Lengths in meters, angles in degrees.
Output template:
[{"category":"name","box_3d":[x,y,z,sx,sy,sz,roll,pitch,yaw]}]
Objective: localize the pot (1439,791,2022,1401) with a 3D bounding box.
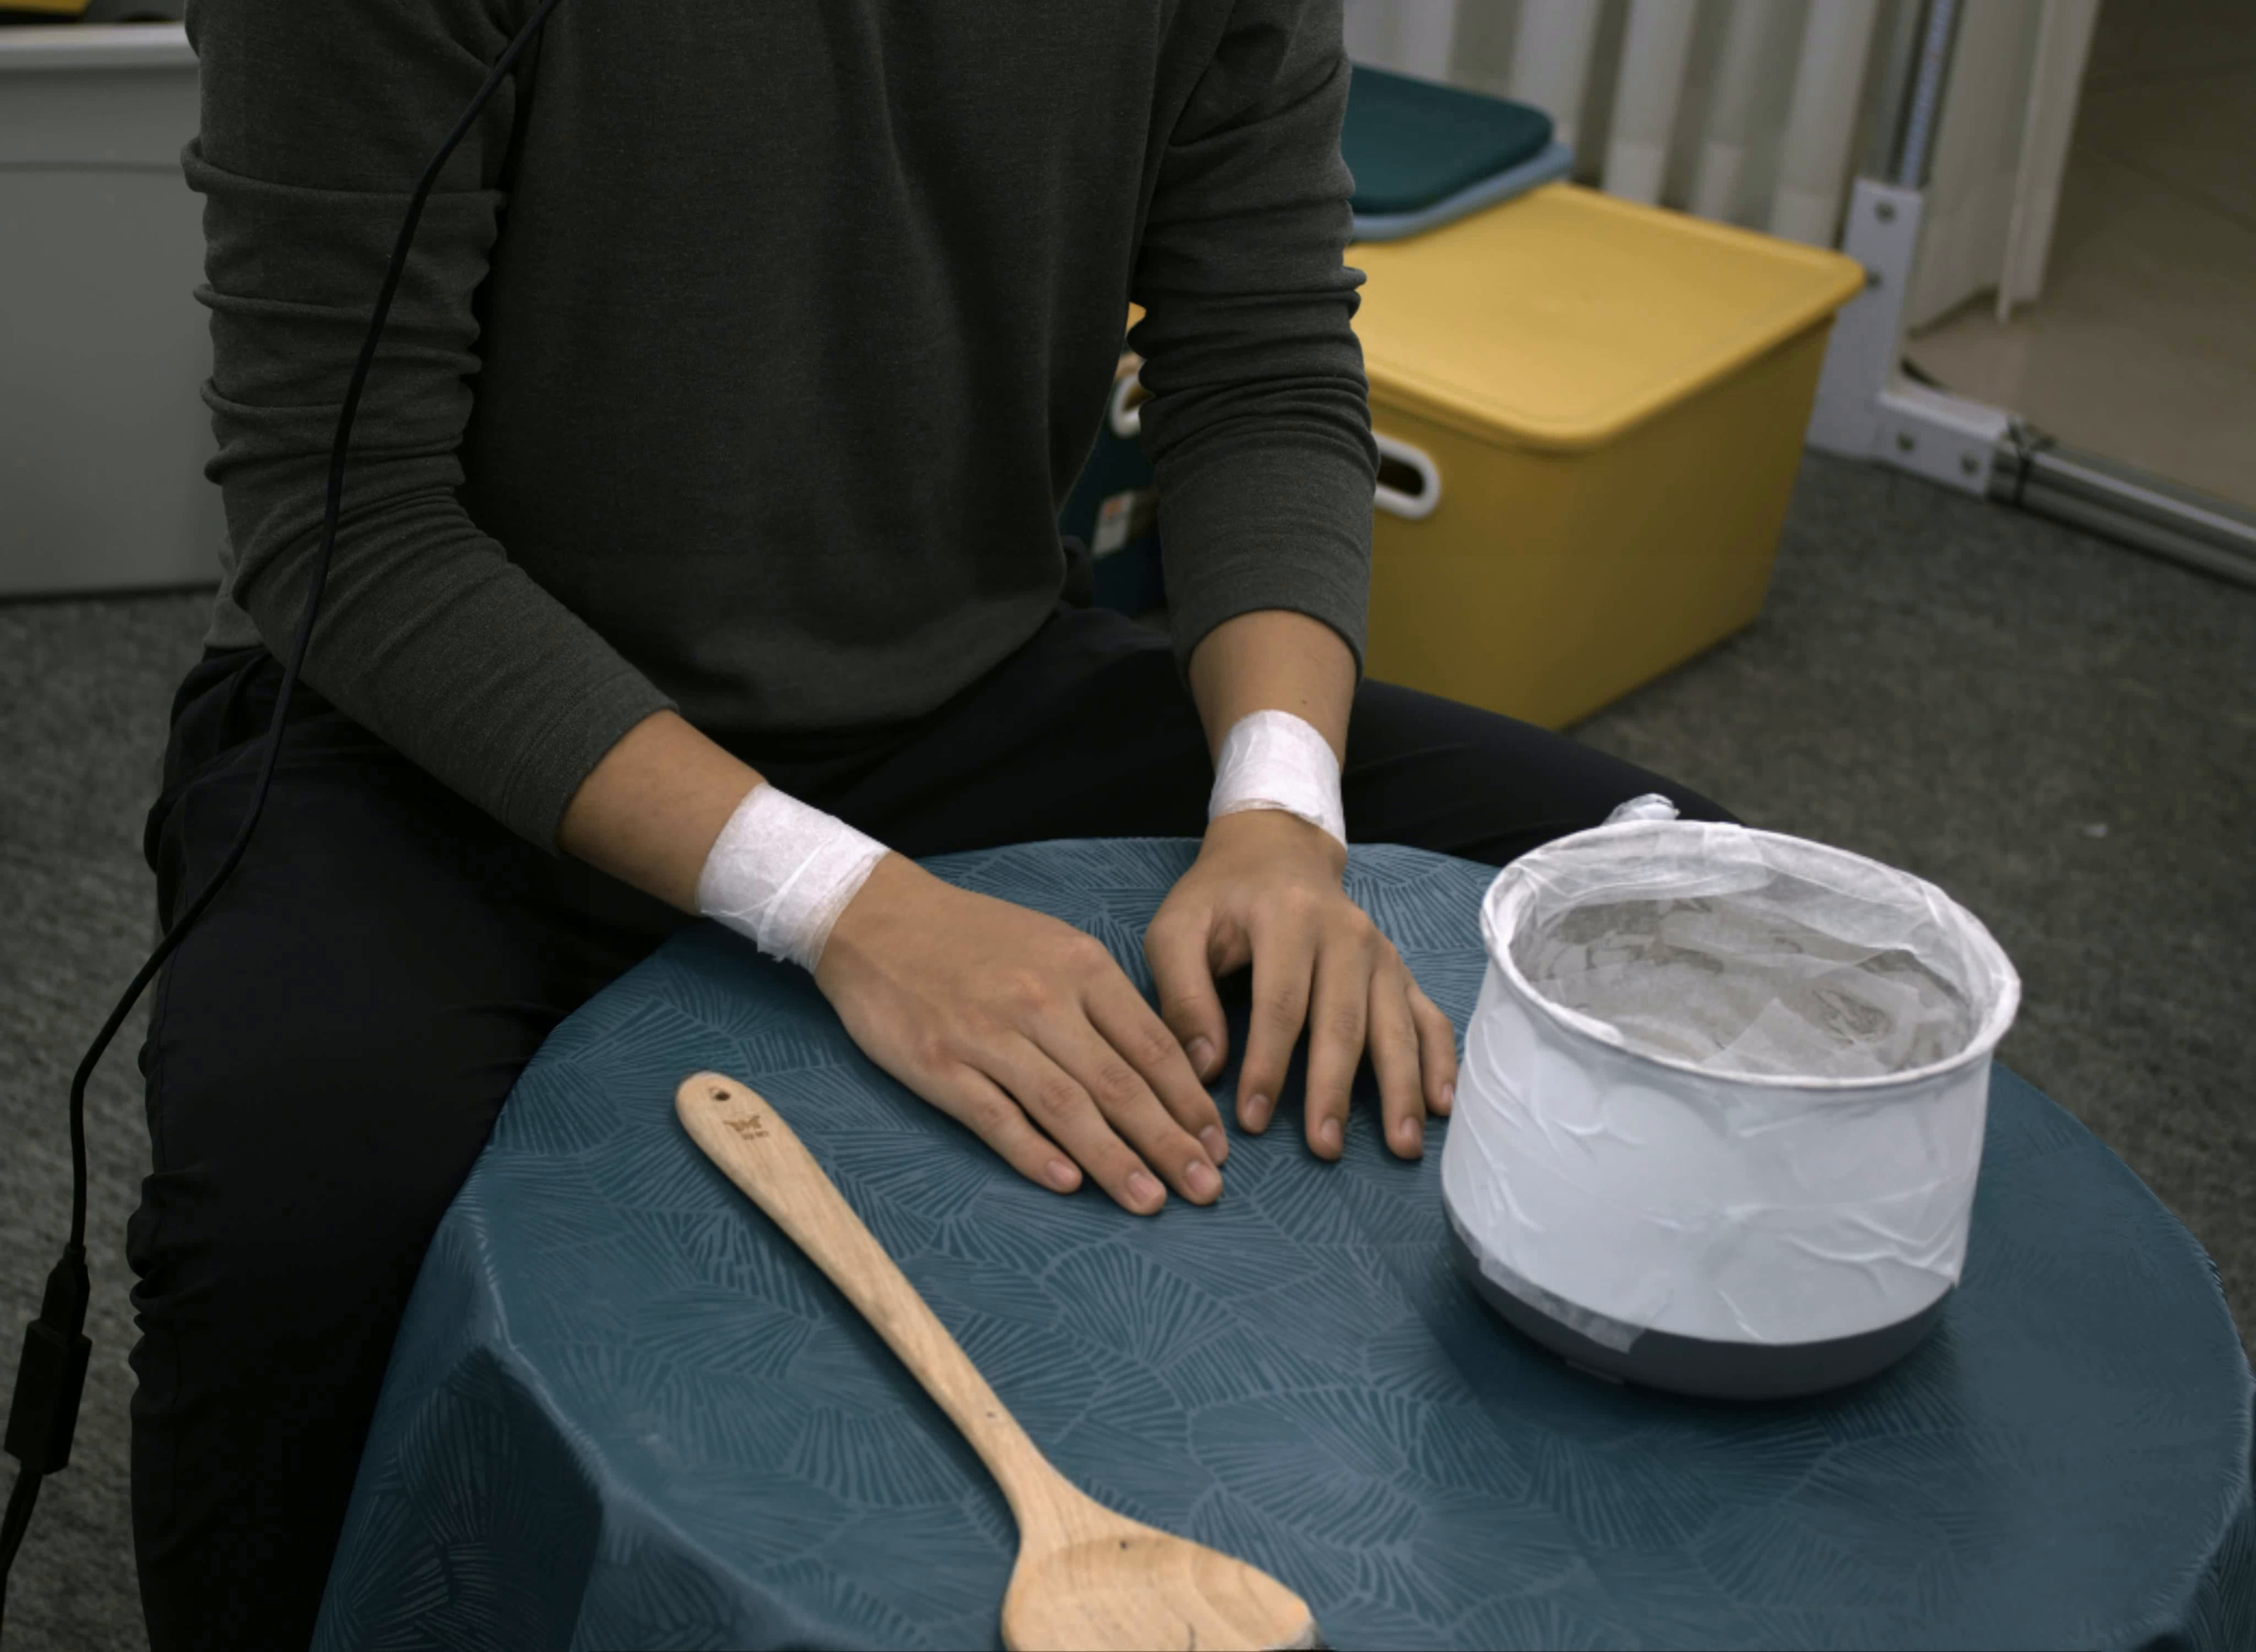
[{"category":"pot","box_3d":[0.188,0.082,1.778,0.177,0.136,0.235,-1,27,-16]}]

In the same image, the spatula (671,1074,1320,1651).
[{"category":"spatula","box_3d":[-0.065,0.172,1.676,0.095,0.018,0.394,-6,30,-27]}]
